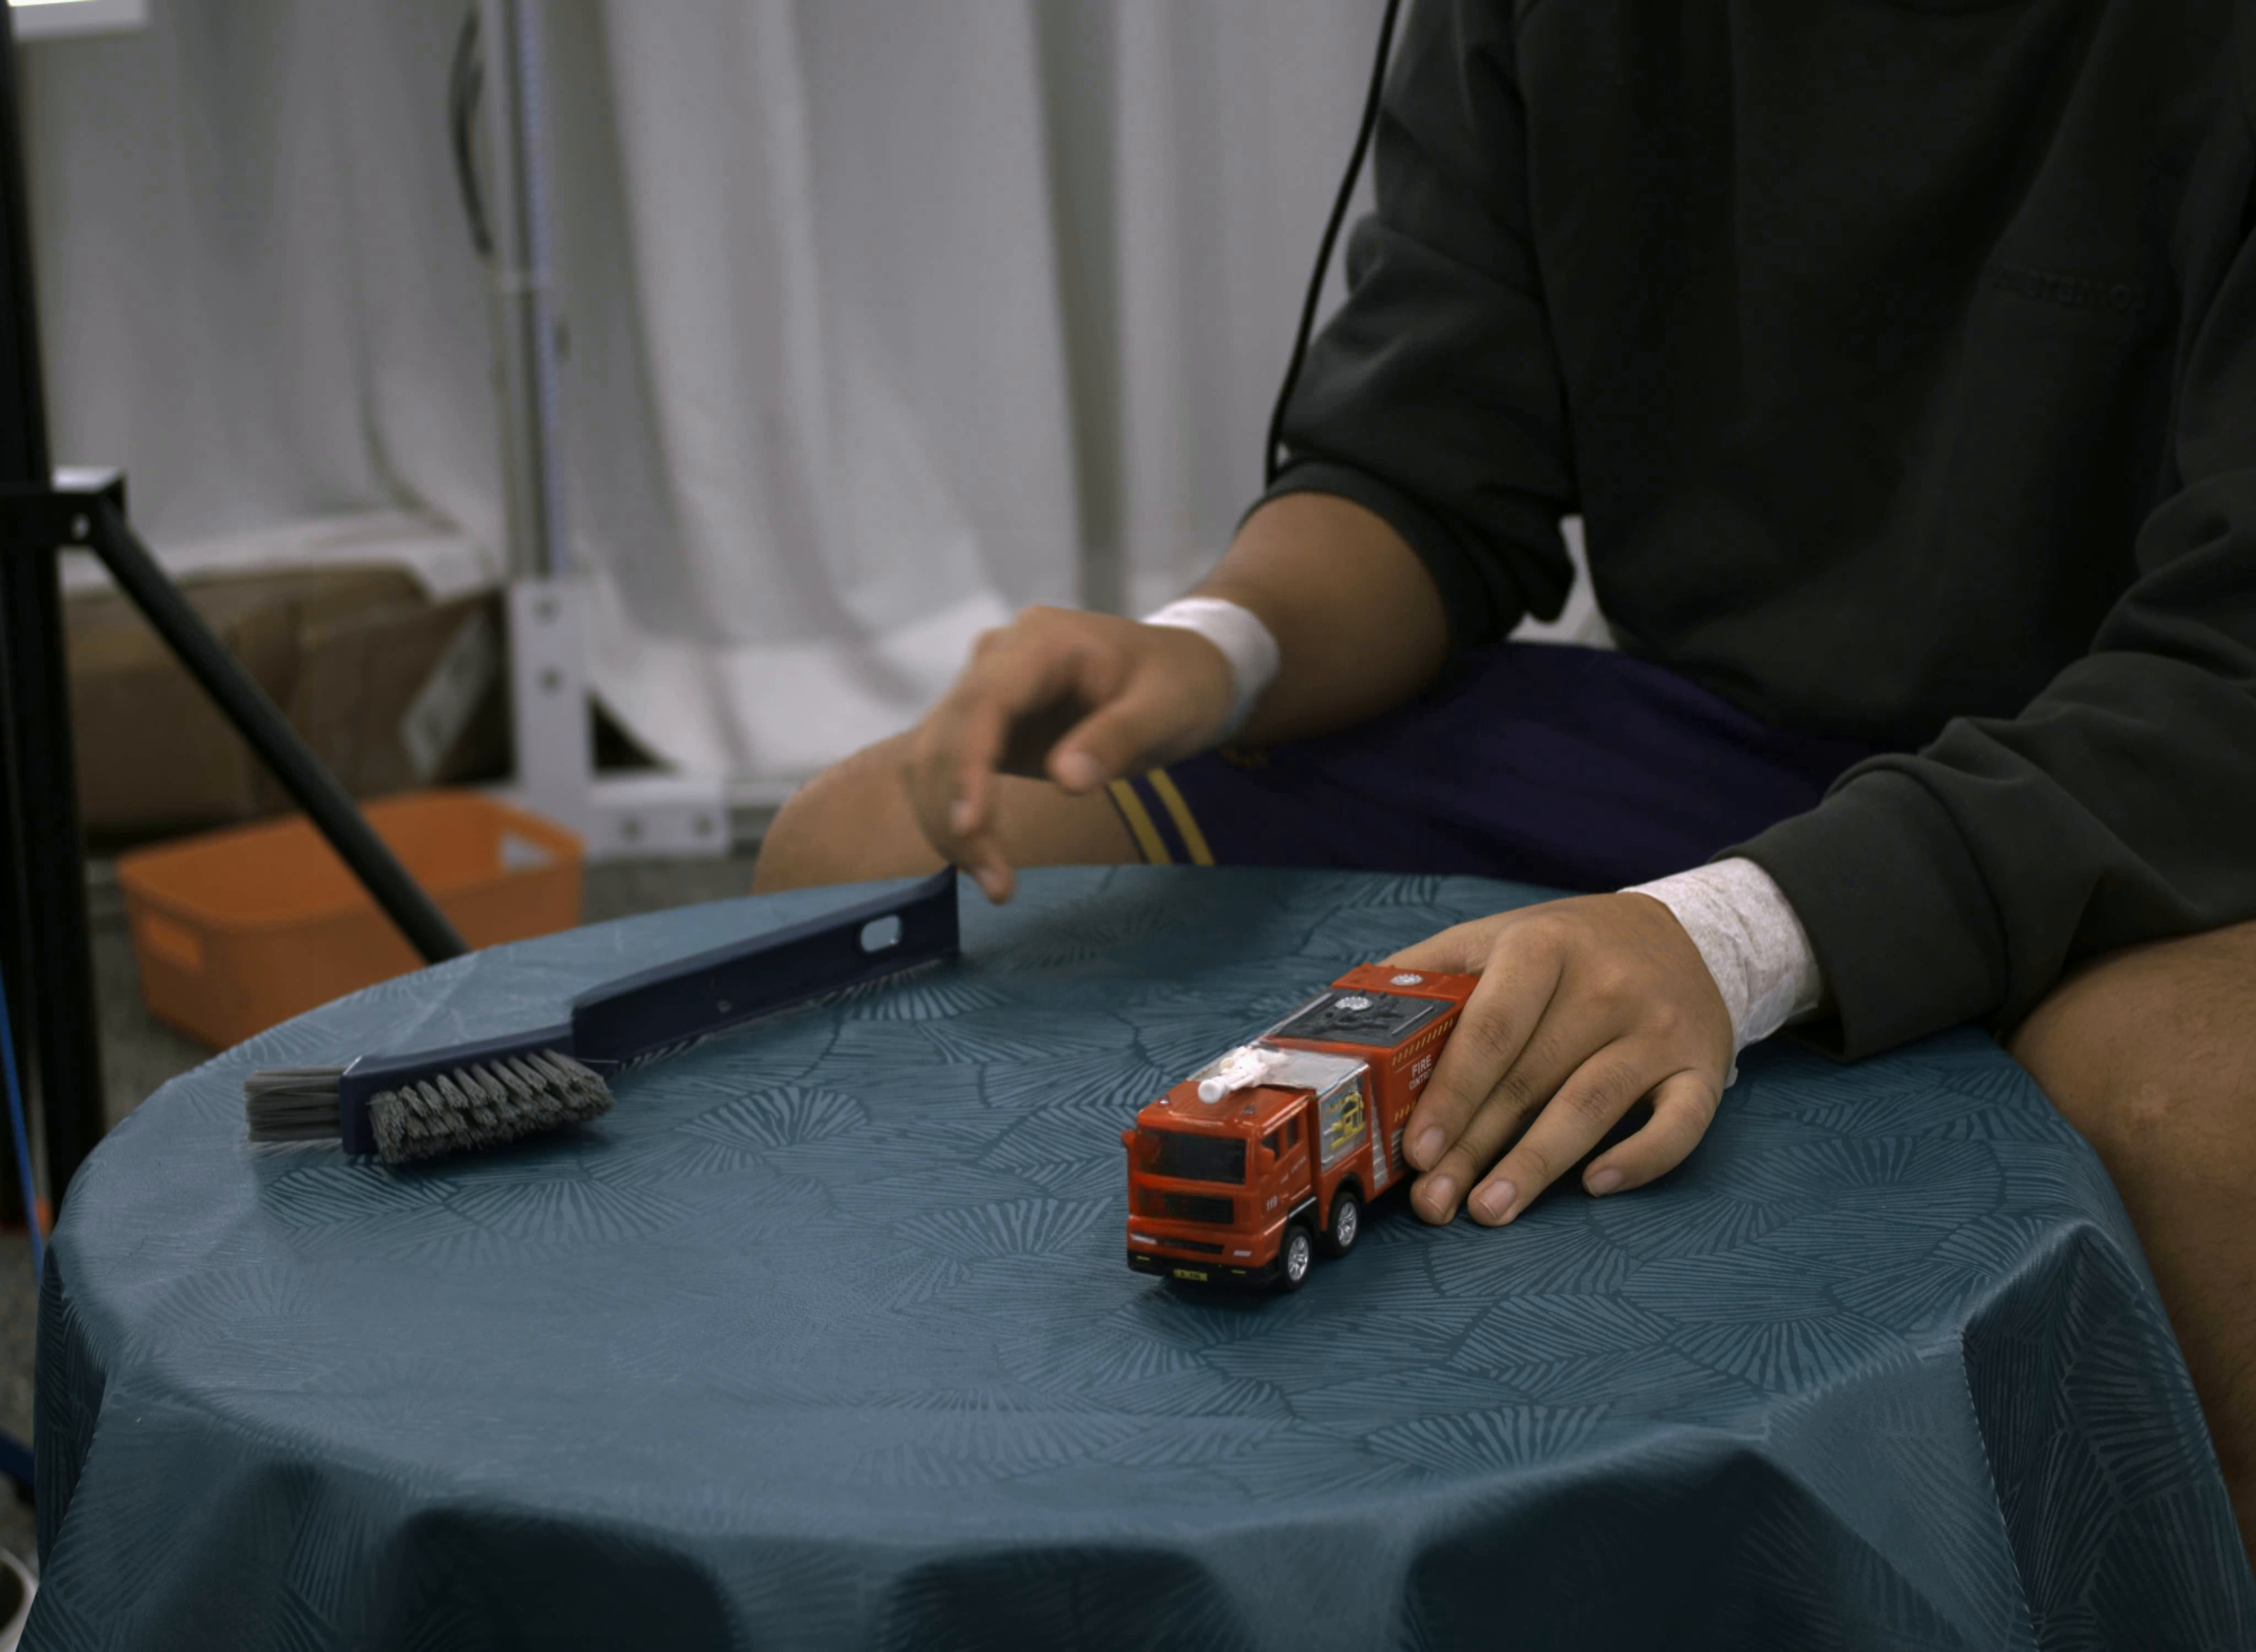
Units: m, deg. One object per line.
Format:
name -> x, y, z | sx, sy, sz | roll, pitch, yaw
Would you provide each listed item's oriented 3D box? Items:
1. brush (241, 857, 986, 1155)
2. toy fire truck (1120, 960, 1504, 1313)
brush -> -0.155, 0.056, 1.710 | 0.098, 0.033, 0.267 | 8, 20, 38
toy fire truck -> 0.055, 0.086, 1.523 | 0.055, 0.070, 0.165 | 5, 17, 27
